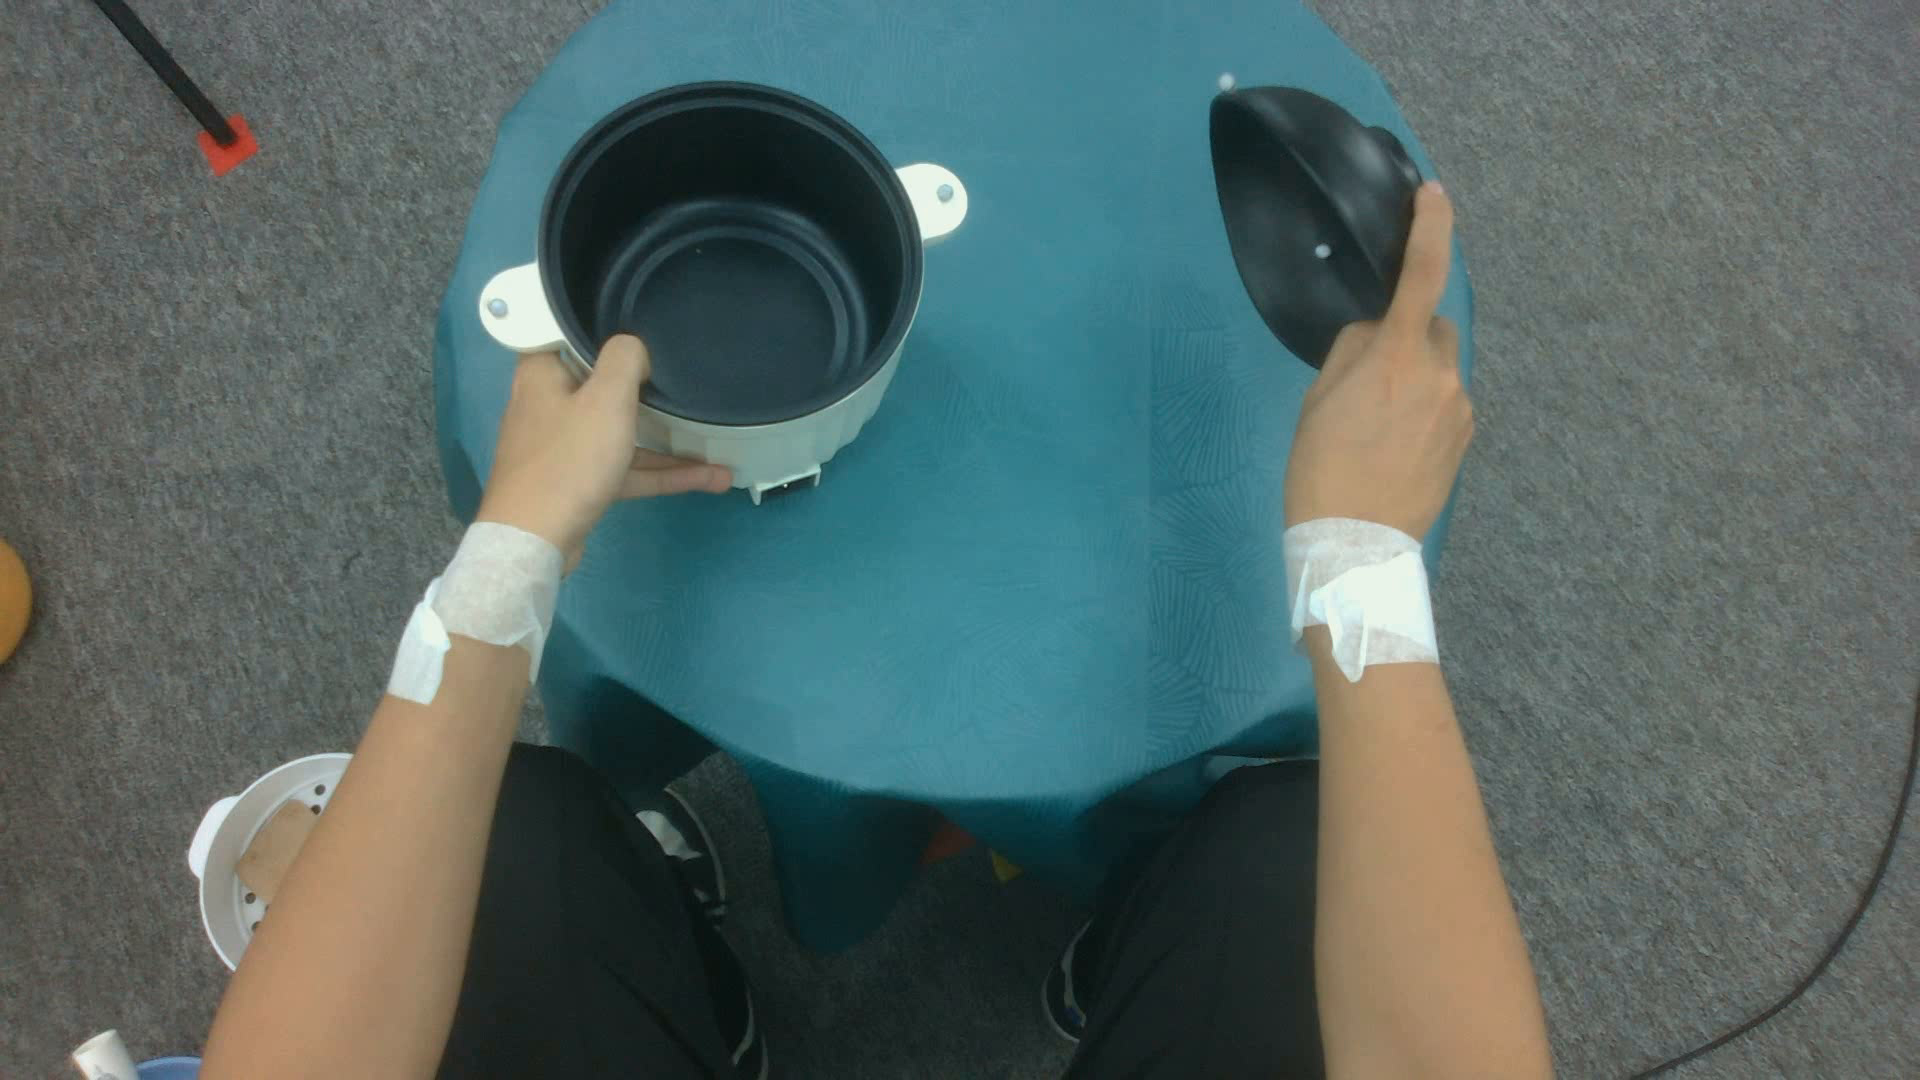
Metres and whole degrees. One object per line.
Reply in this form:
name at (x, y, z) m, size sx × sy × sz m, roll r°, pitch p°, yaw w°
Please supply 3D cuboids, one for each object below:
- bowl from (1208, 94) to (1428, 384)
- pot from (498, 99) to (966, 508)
bowl at (0.185, -0.157, 0.685) m, size 0.067 × 0.137 × 0.171 m, roll -22°, pitch 47°, yaw -6°
pot at (-0.120, -0.123, 0.736) m, size 0.241 × 0.142 × 0.190 m, roll -20°, pitch 80°, yaw -15°
